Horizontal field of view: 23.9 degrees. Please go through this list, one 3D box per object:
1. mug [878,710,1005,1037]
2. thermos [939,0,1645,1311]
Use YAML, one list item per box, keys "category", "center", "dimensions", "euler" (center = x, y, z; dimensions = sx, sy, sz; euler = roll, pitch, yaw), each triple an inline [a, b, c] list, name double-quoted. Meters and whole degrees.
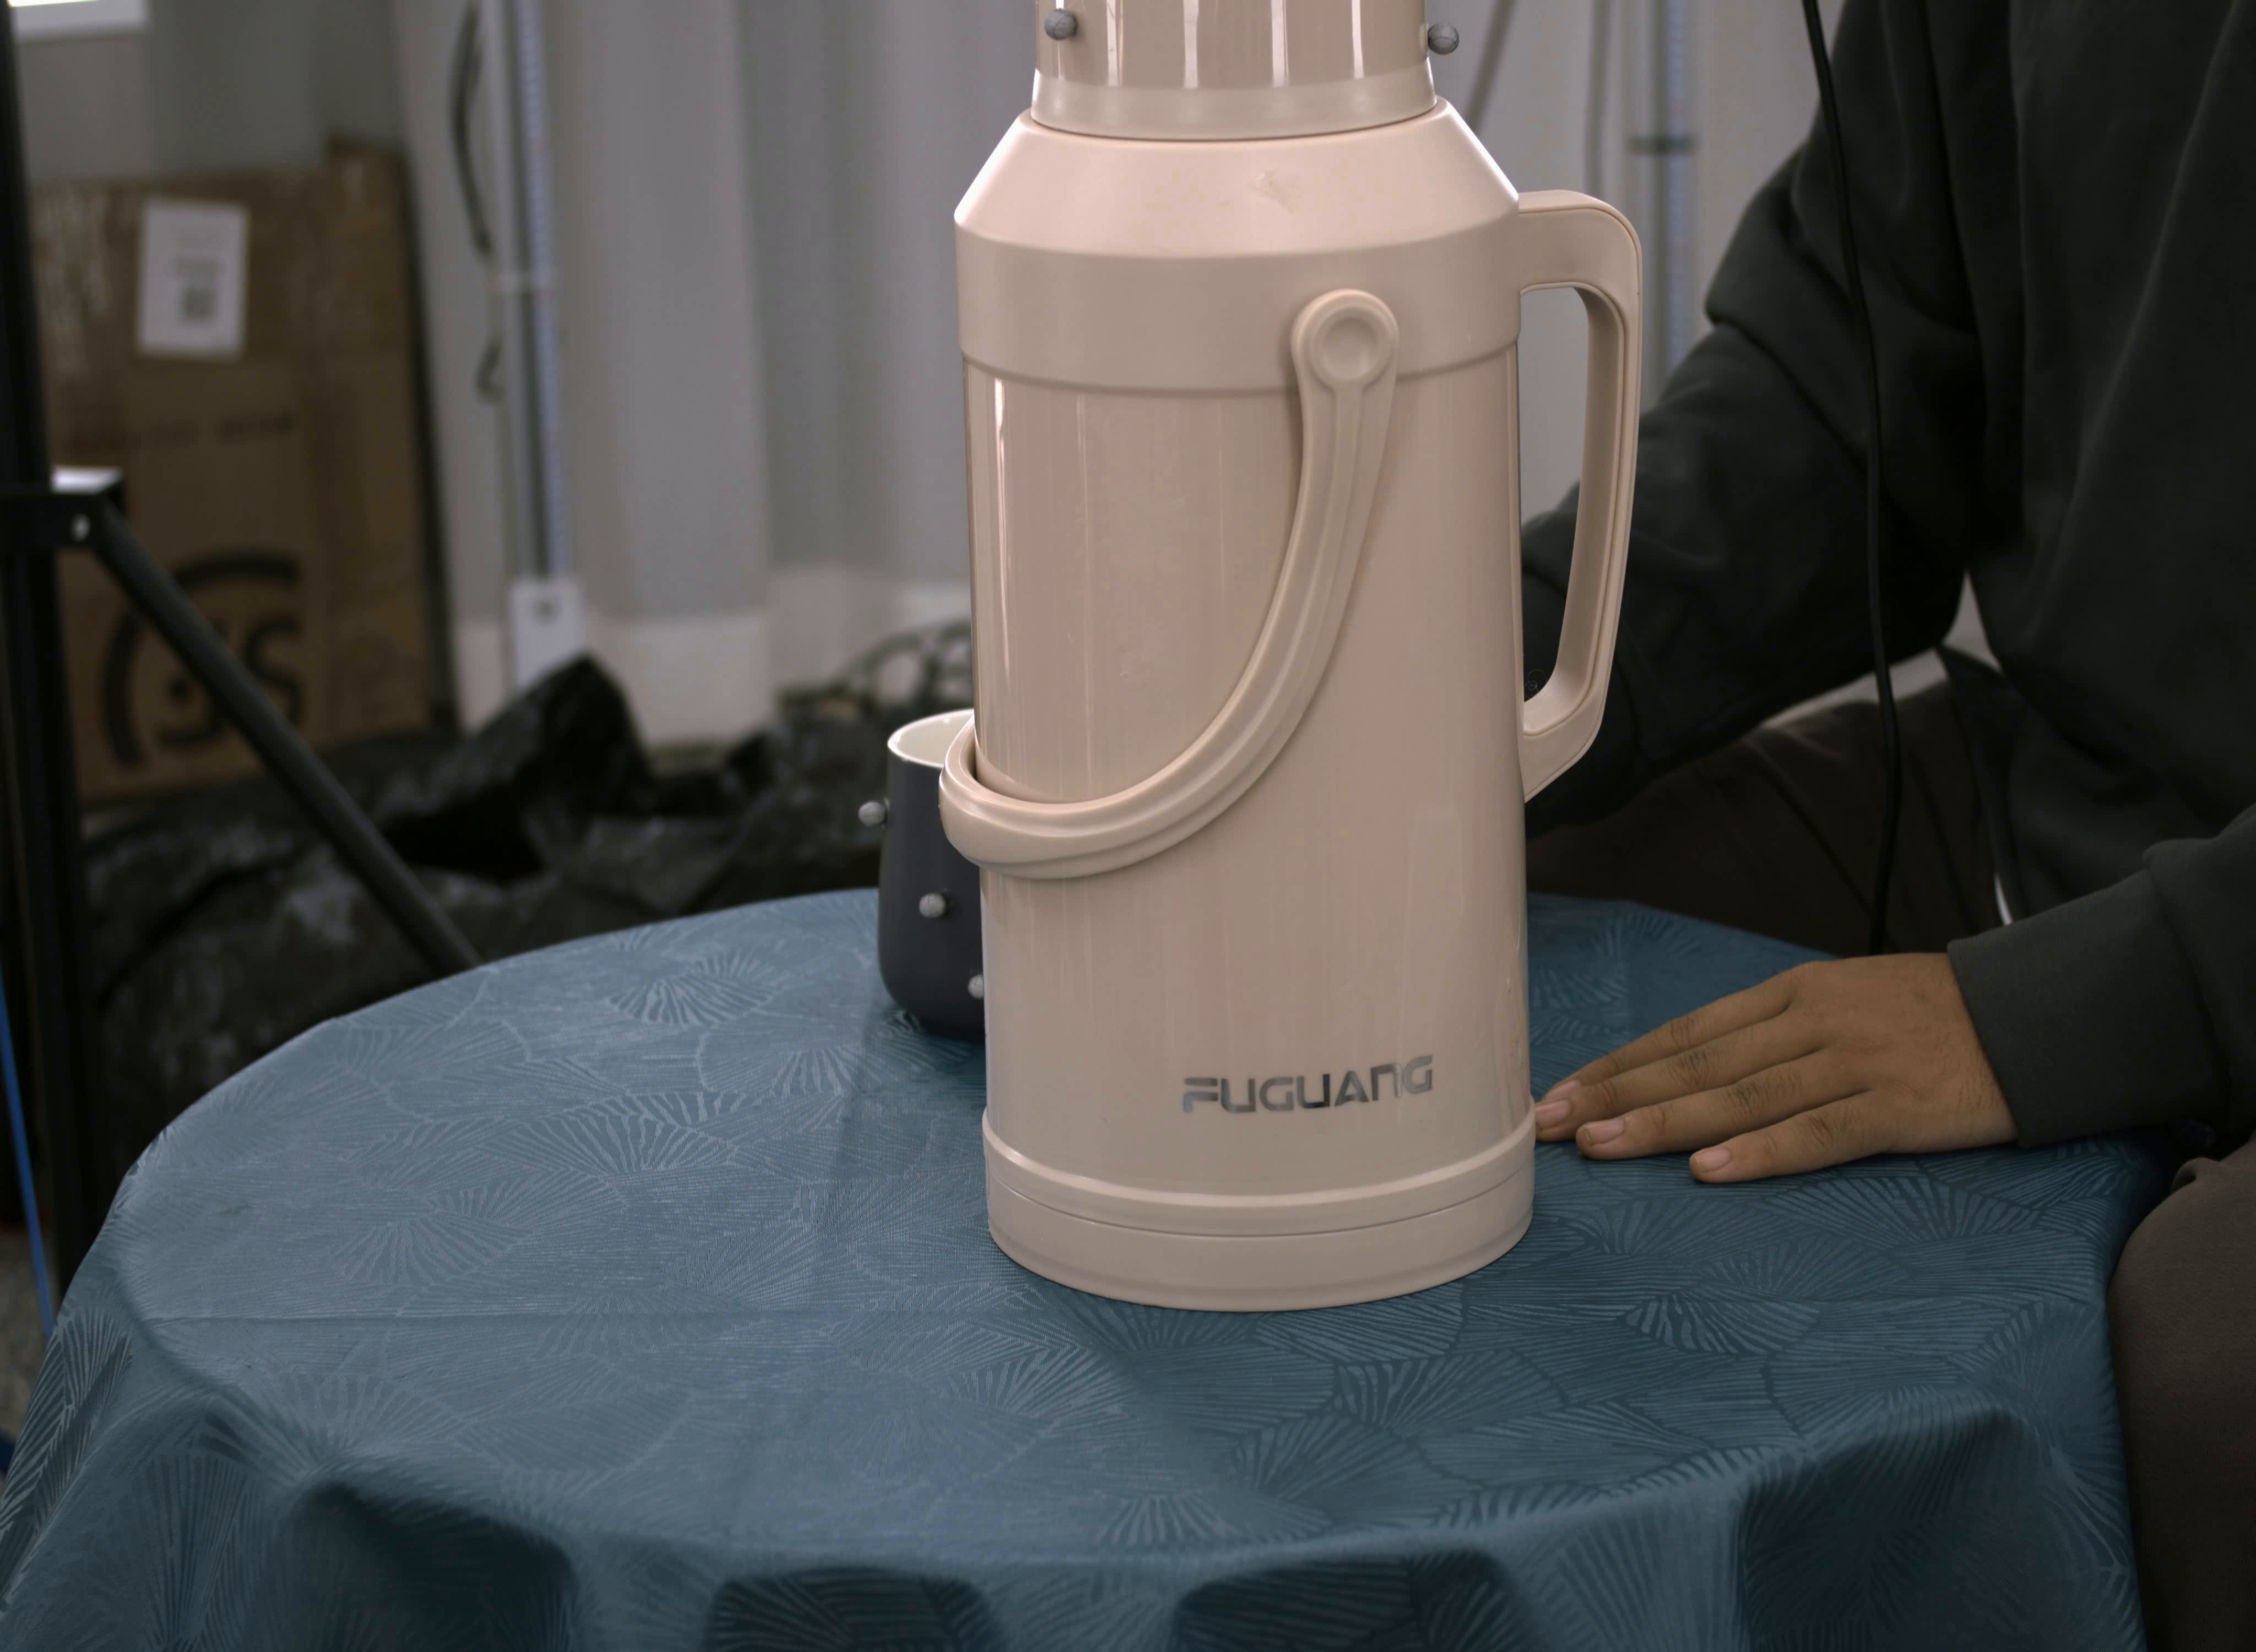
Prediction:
- category: "mug"
  center: [-0.021, 0.014, 1.725]
  dimensions: [0.122, 0.090, 0.094]
  euler: [-4, 16, -7]
- category: "thermos"
  center: [0.047, -0.080, 1.488]
  dimensions: [0.203, 0.406, 0.178]
  euler: [-7, 15, -17]
